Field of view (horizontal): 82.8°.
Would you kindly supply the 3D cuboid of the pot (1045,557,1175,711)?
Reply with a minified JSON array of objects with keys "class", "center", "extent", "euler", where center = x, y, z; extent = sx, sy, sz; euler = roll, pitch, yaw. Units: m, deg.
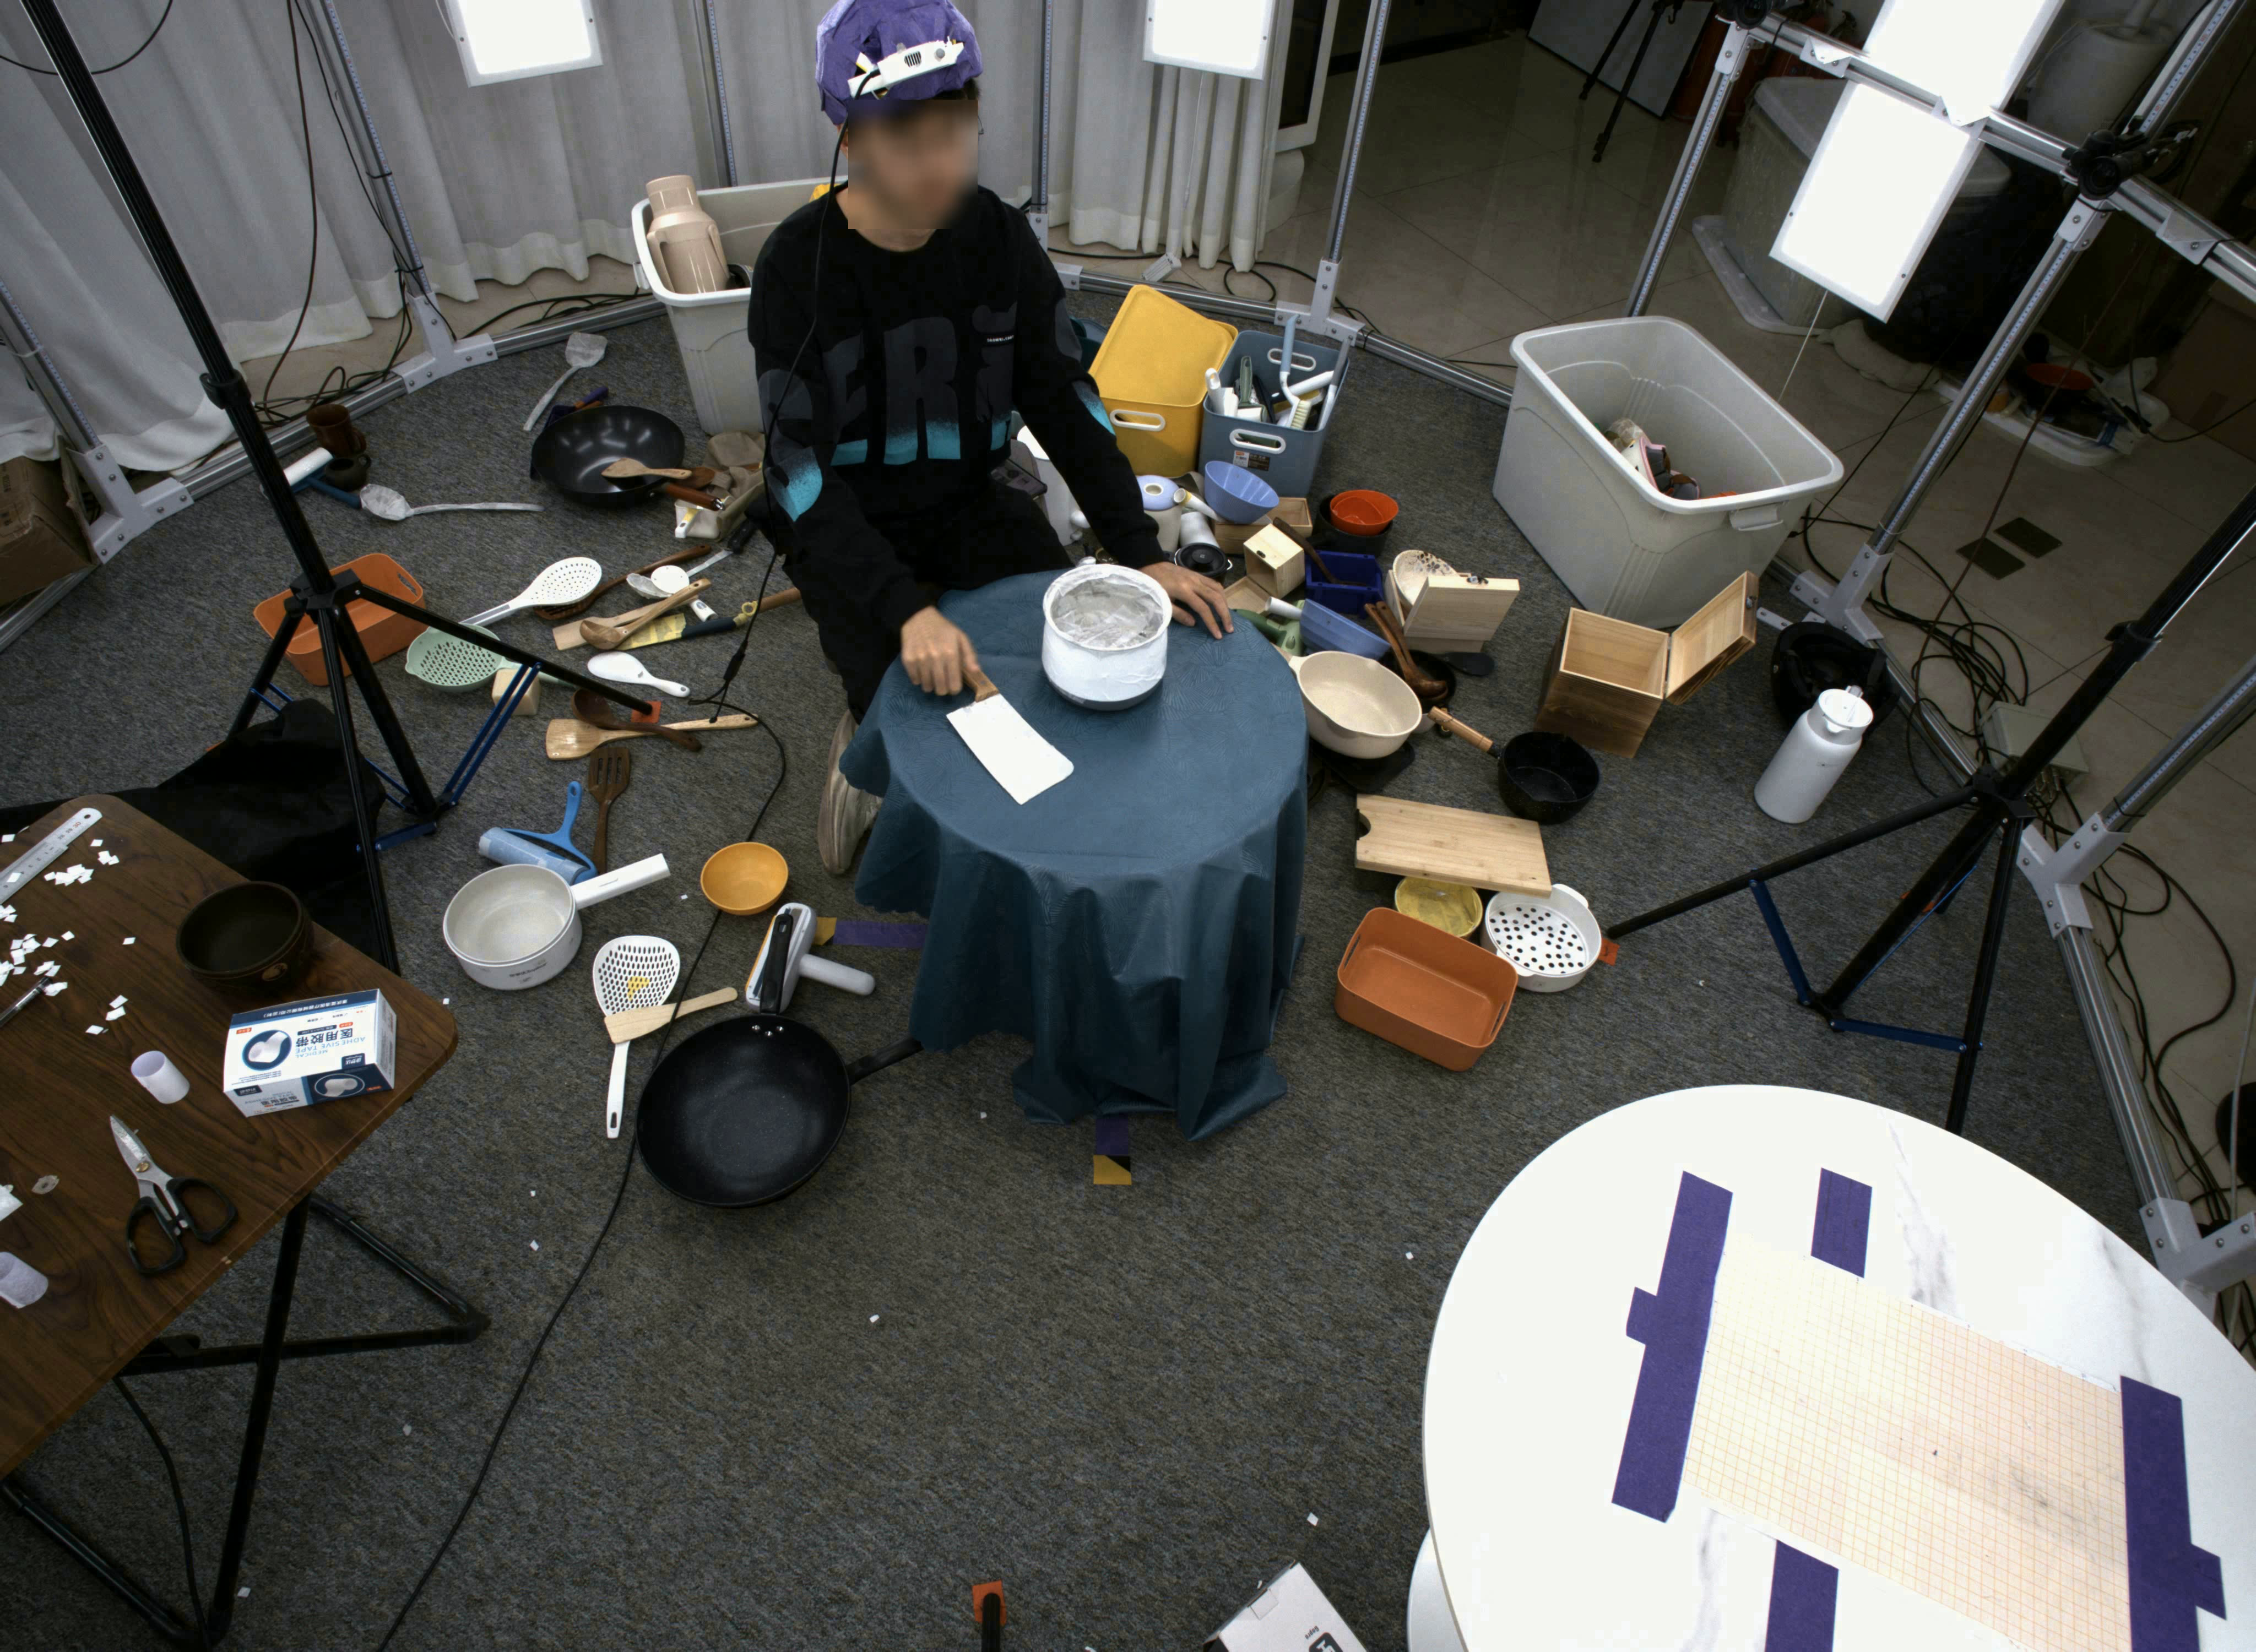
[{"class":"pot","center":[-0.036,-0.281,1.822],"extent":[0.178,0.133,0.239],"euler":[-10,51,-13]}]

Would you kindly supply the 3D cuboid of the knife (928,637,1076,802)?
[{"class":"knife","center":[-0.187,-0.155,1.779],"extent":[0.114,0.021,0.321],"euler":[-24,57,-22]}]
